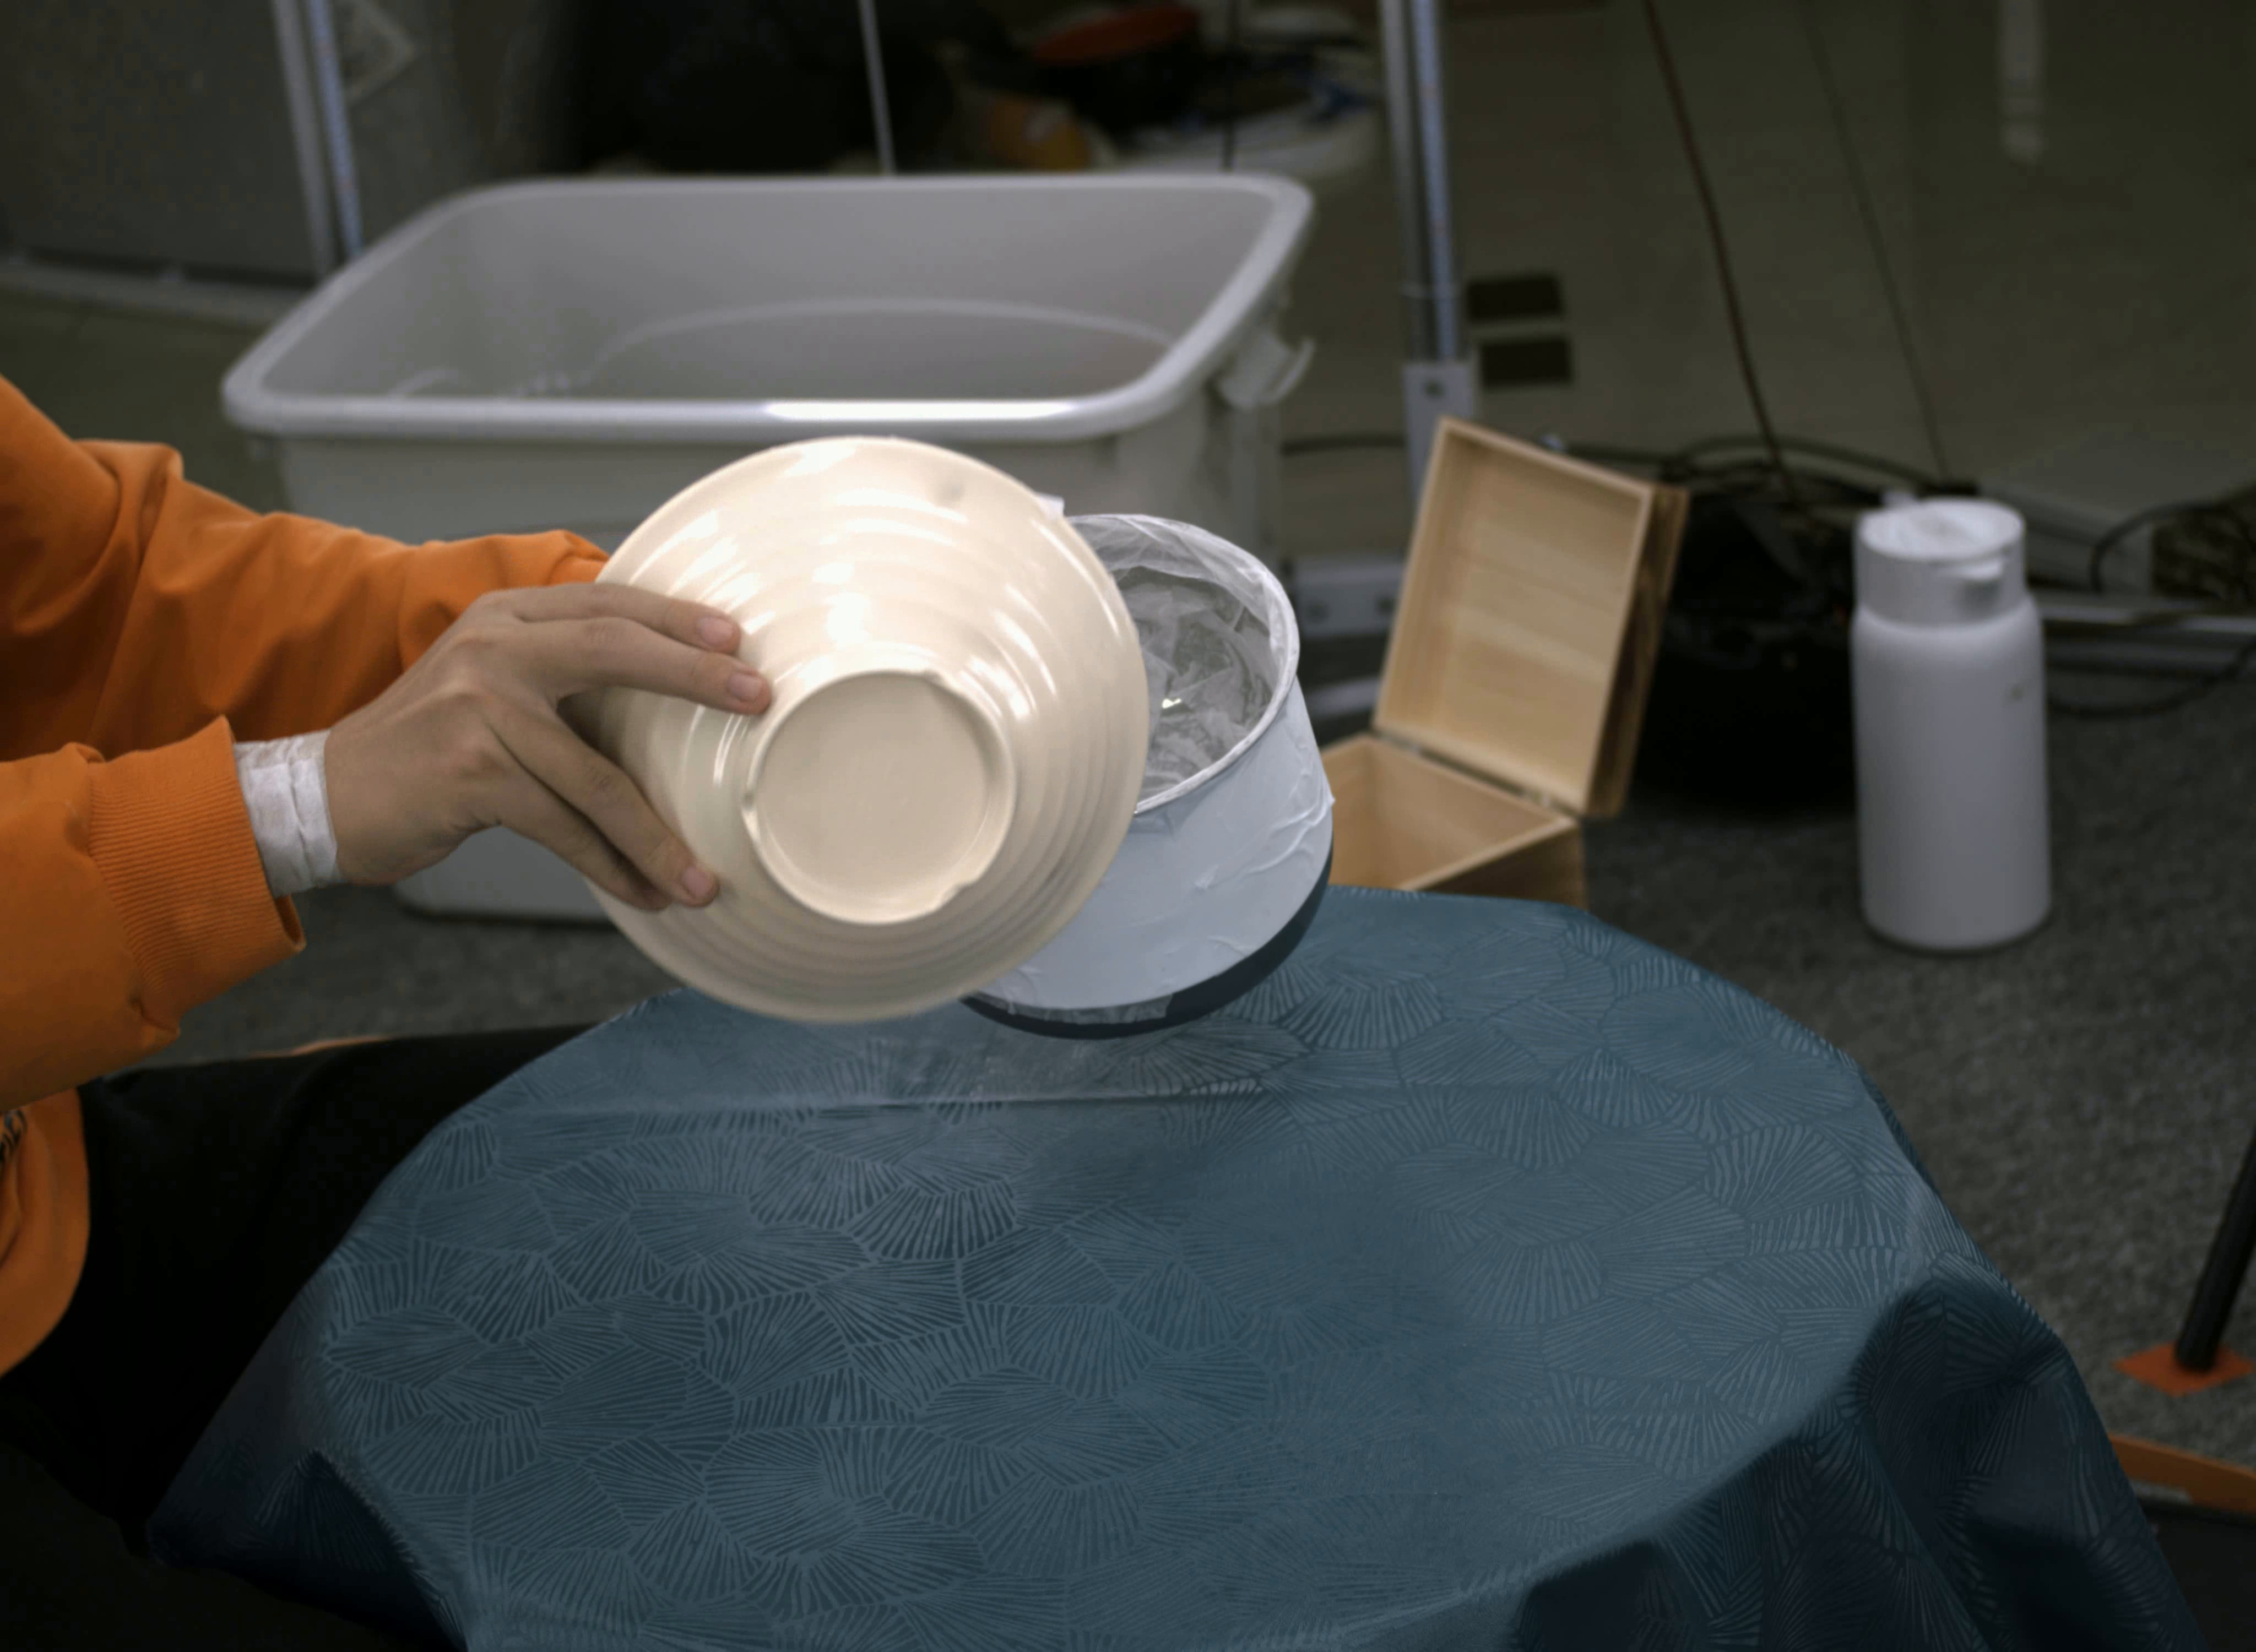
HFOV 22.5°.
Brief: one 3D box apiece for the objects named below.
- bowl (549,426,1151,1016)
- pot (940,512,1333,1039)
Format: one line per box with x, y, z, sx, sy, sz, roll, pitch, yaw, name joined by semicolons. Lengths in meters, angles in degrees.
-0.084;-0.024;1.852;0.203;0.207;0.077;-11;21;-9;bowl
-0.033;-0.026;2.206;0.231;0.139;0.177;27;56;33;pot
